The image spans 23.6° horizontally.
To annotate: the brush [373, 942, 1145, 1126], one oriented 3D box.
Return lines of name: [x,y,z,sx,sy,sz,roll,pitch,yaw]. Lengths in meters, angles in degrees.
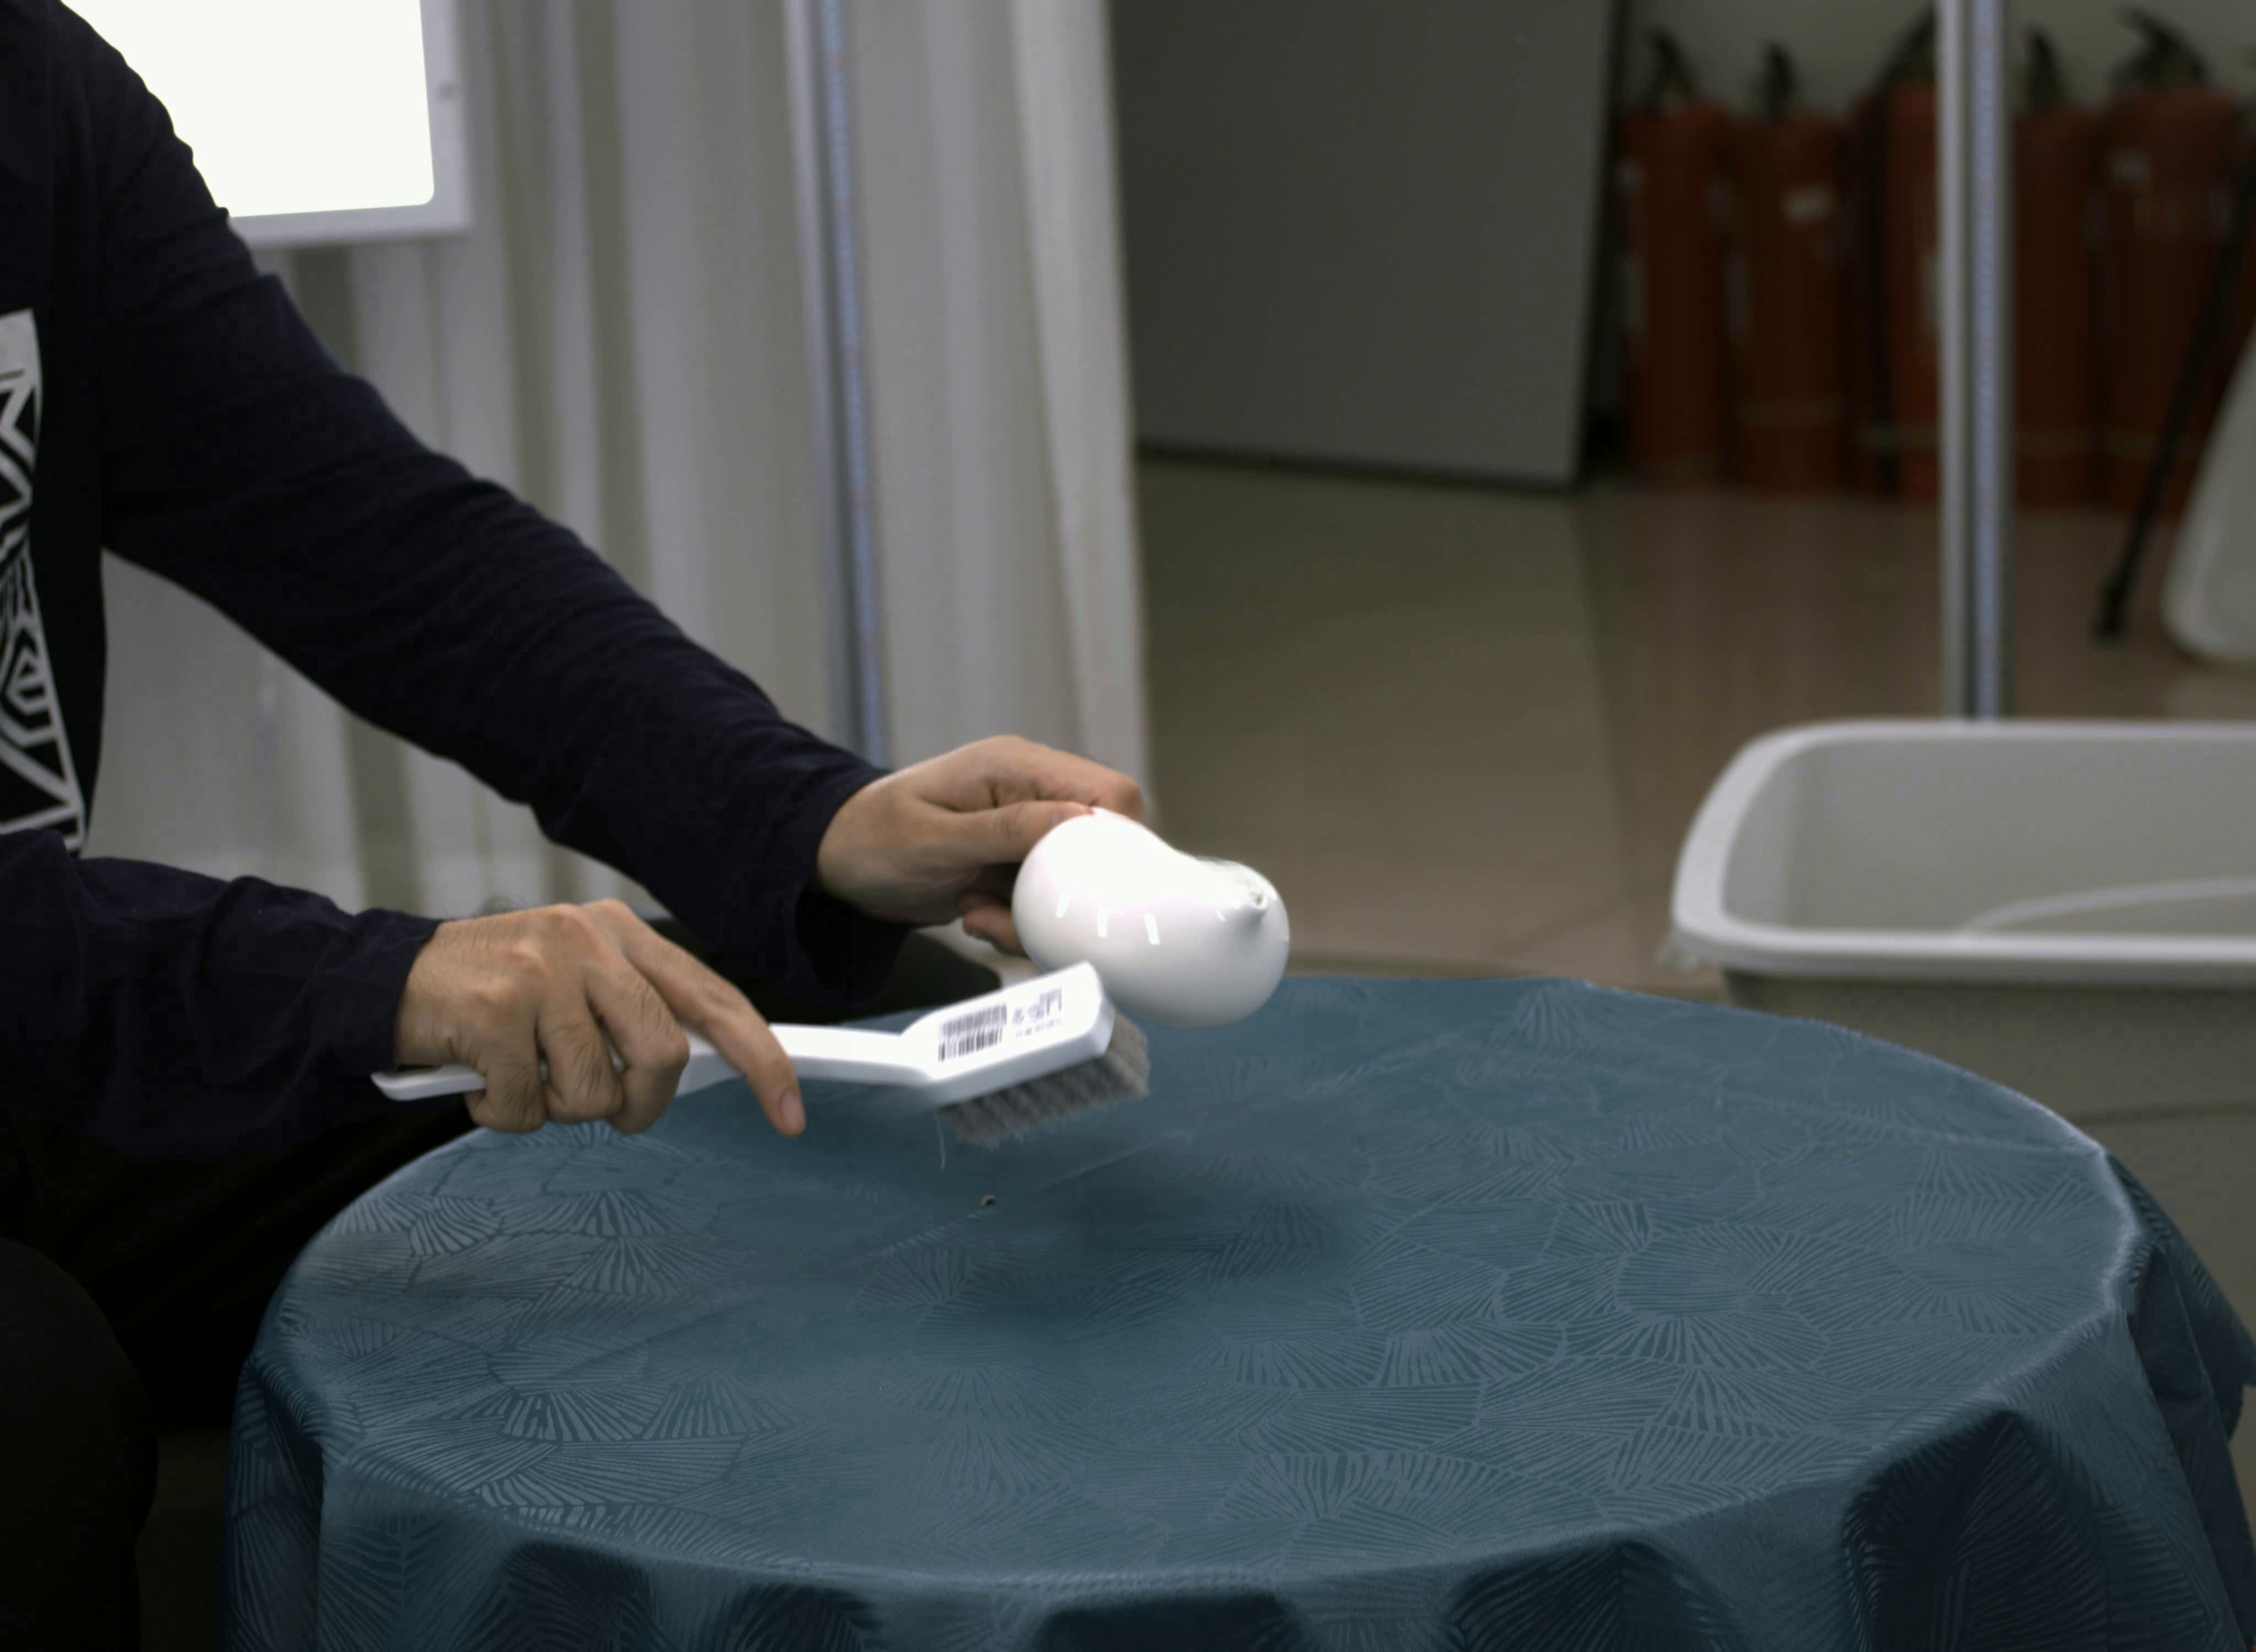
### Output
brush: [-0.114,0.078,1.699,0.241,0.050,0.035,-8,45,1]

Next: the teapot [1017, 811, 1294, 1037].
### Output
teapot: [0.002,0.031,1.776,0.091,0.057,0.128,11,8,-39]
